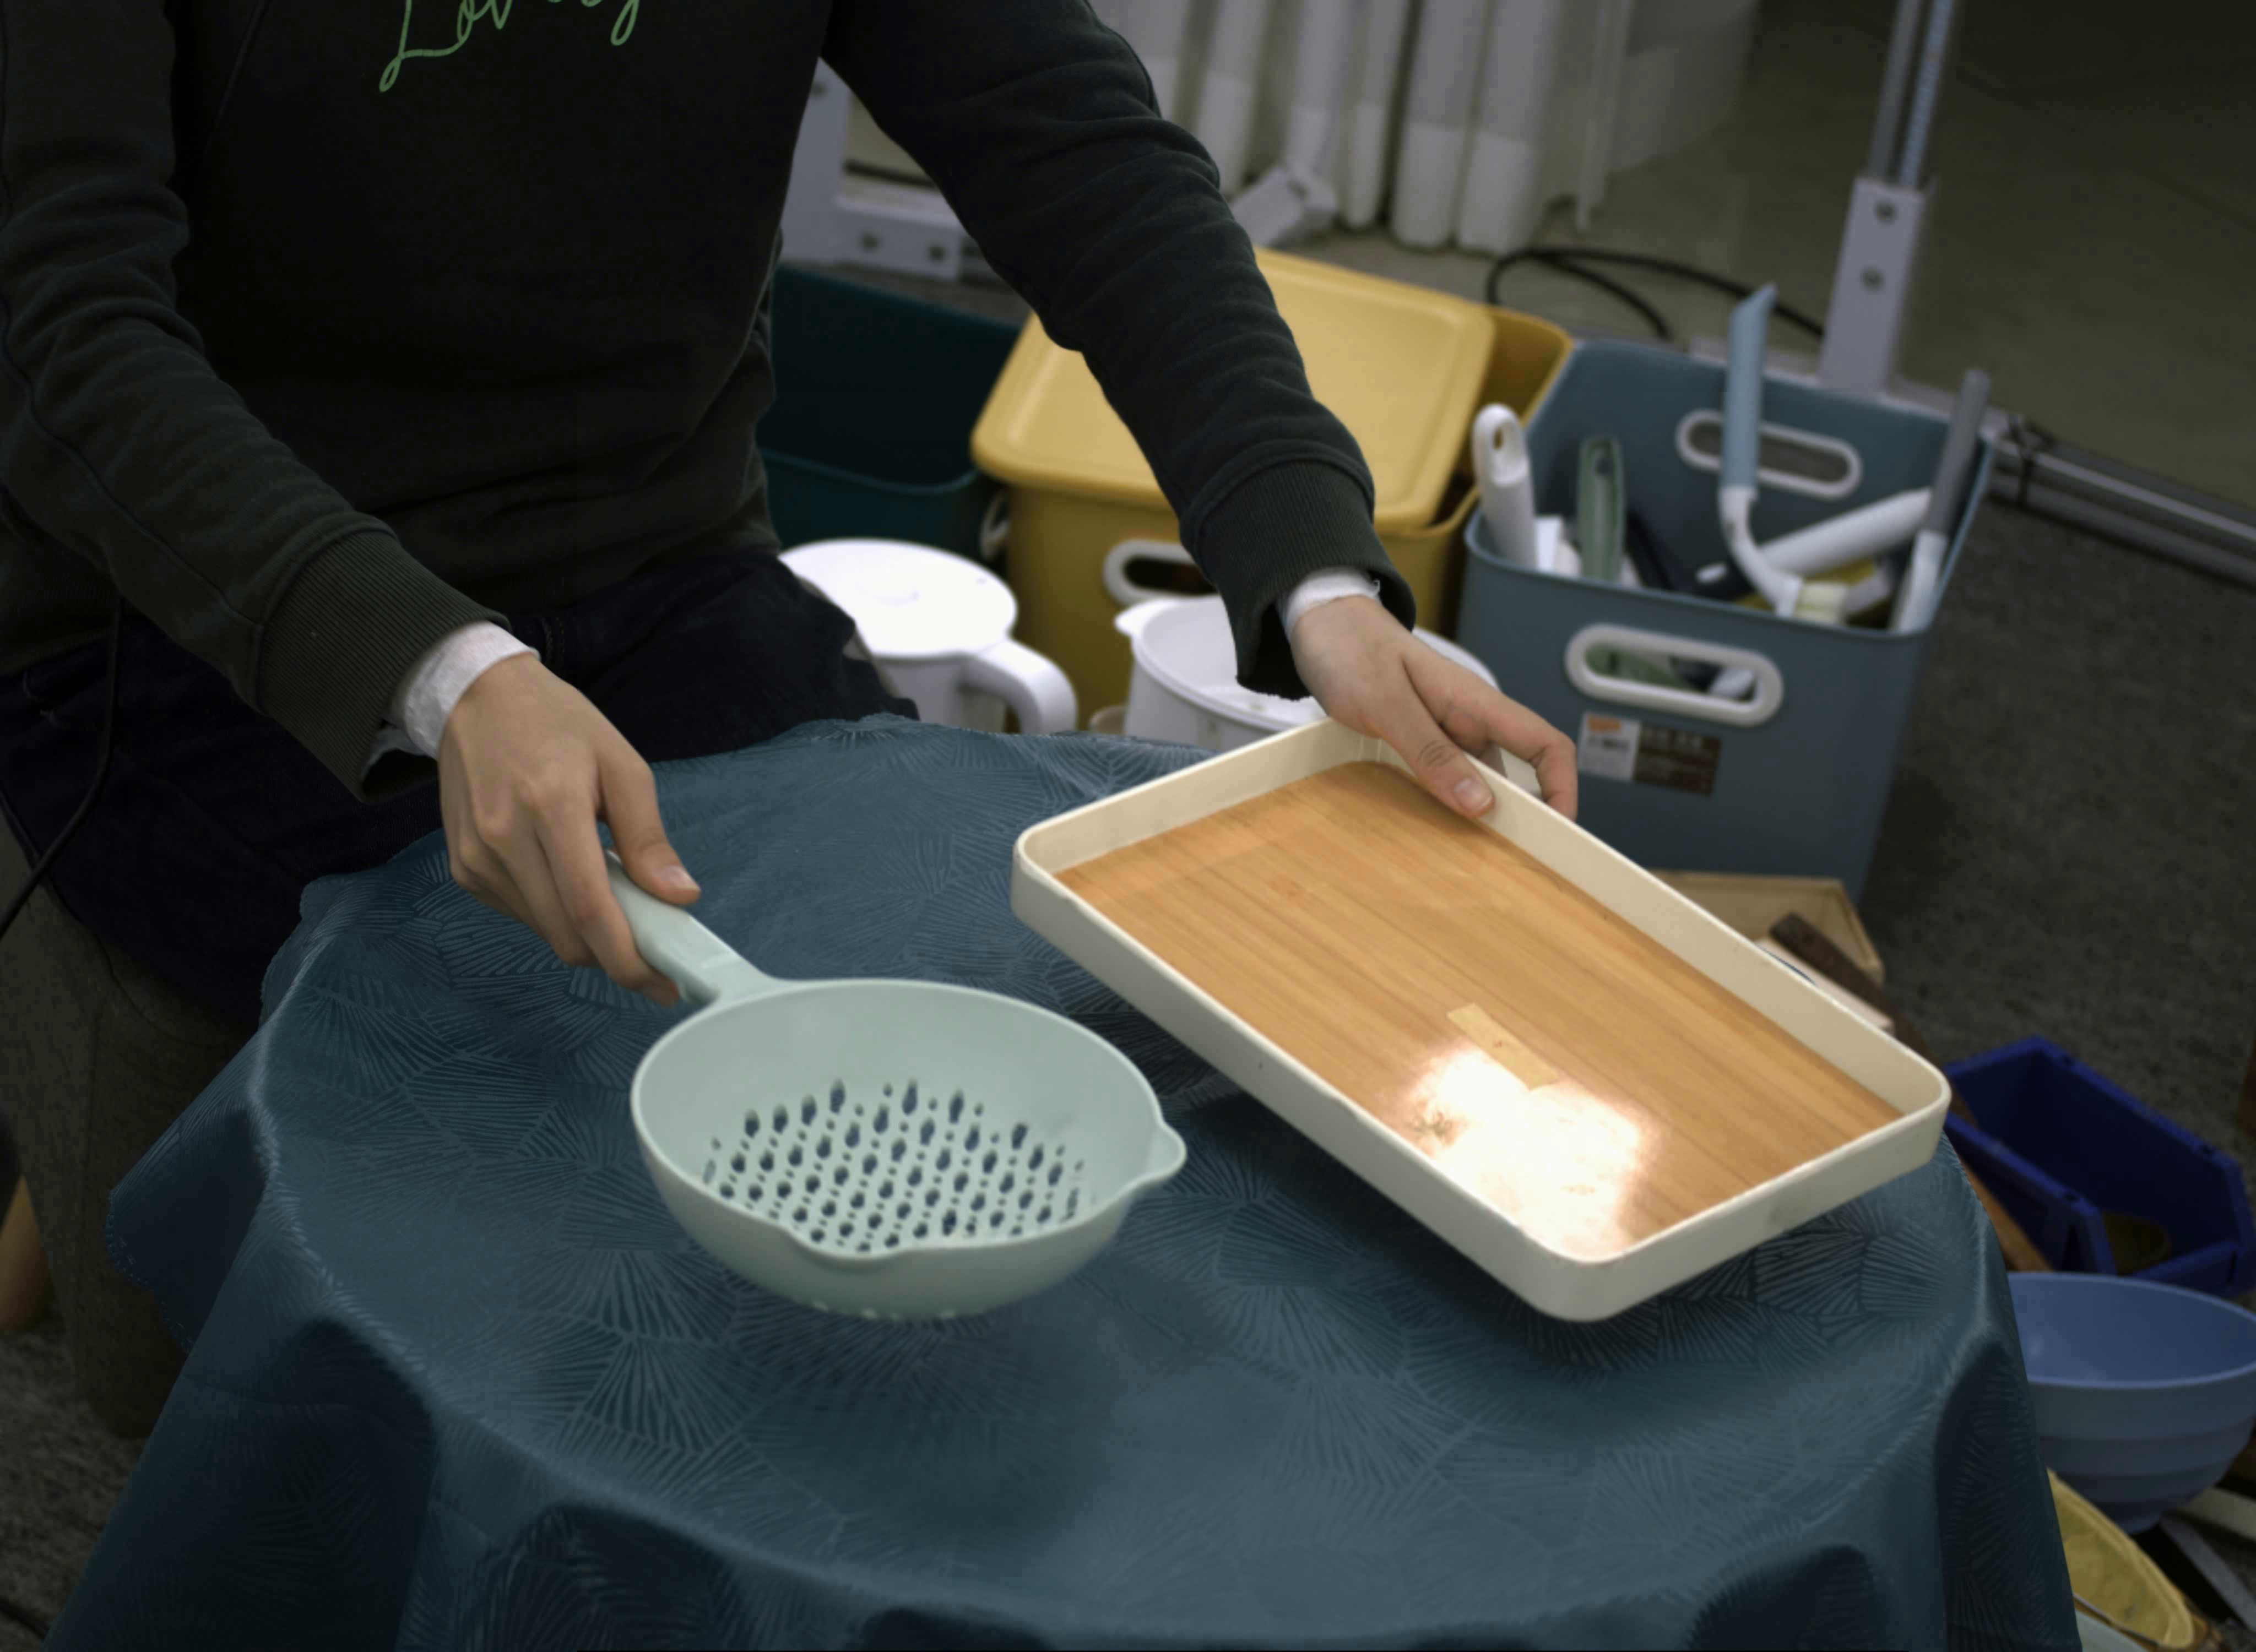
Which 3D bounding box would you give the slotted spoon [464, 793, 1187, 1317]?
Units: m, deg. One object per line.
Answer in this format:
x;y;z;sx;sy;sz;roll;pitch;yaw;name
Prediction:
-0.129;0.059;1.755;0.168;0.075;0.362;-12;38;-32;slotted spoon

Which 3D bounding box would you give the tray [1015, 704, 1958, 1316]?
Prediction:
0.120;0.057;1.843;0.190;0.027;0.303;-20;41;-36;tray
